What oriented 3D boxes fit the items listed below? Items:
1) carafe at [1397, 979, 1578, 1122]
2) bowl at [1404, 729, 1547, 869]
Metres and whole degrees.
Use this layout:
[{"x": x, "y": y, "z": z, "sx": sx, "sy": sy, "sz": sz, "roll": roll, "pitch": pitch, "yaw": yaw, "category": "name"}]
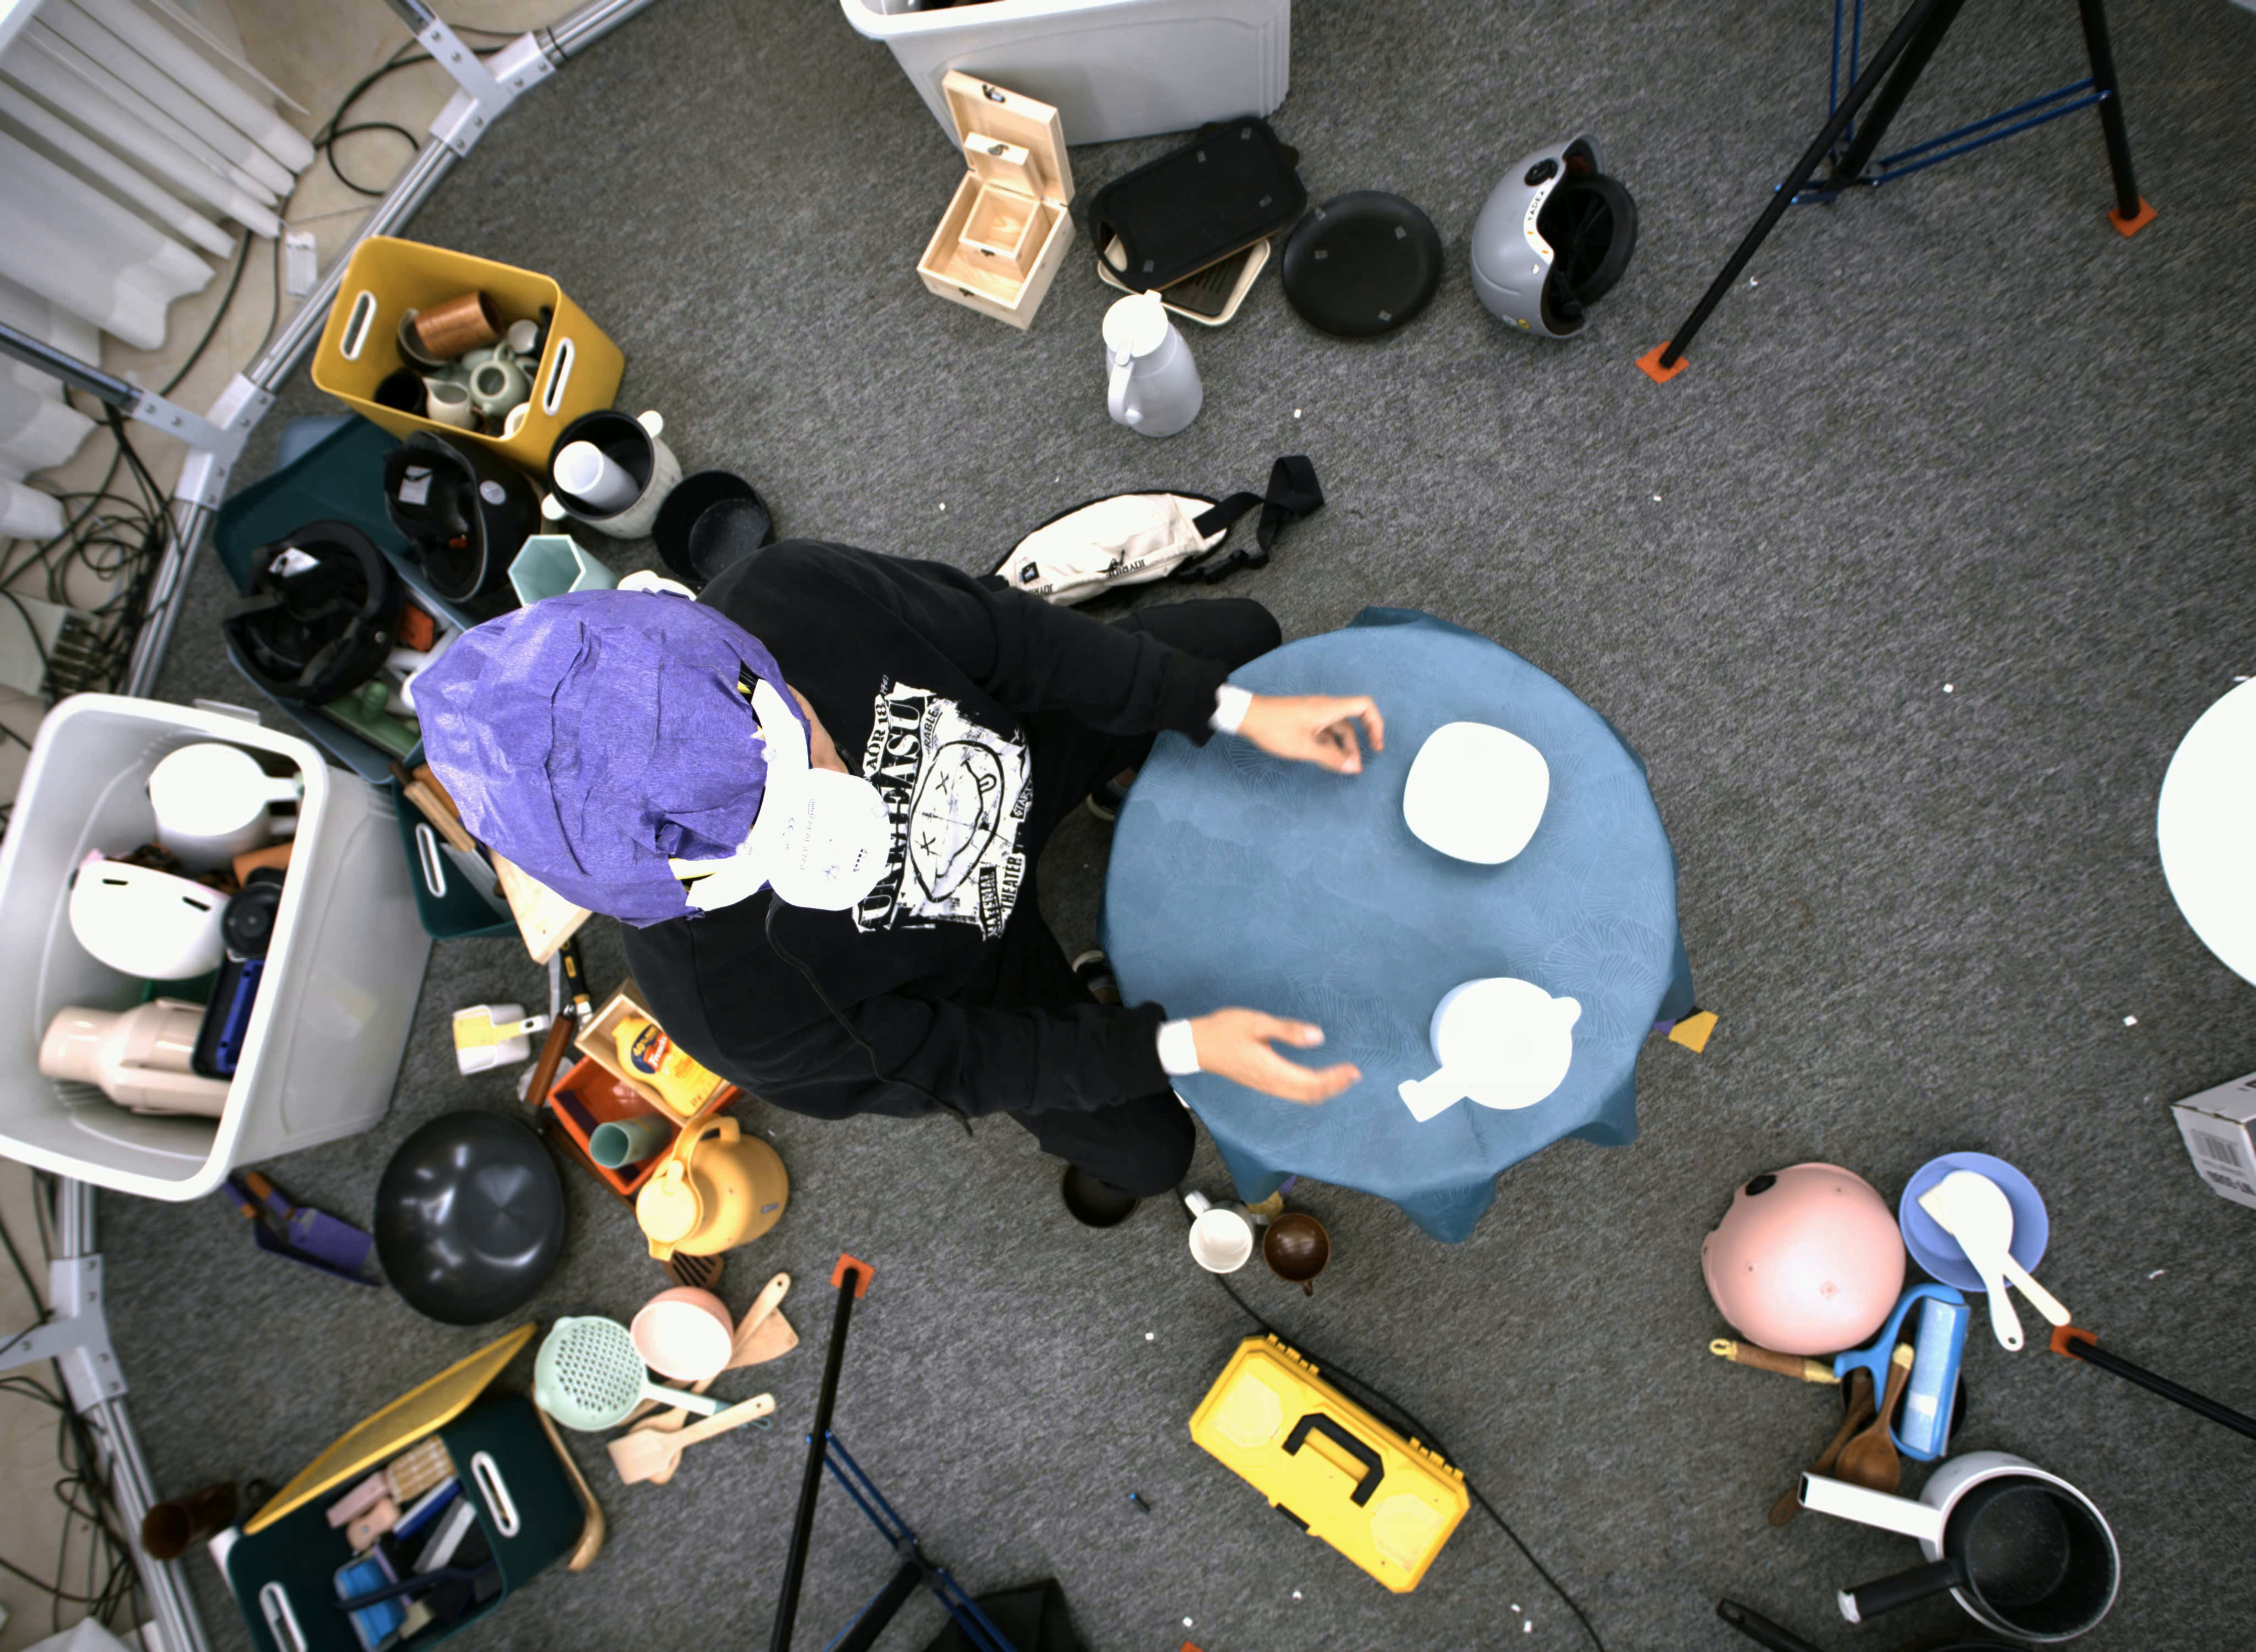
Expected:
[{"x": 0.335, "y": 0.212, "z": 1.307, "sx": 0.174, "sy": 0.269, "sz": 0.123, "roll": -35, "pitch": 82, "yaw": 6, "category": "carafe"}, {"x": 0.362, "y": -0.027, "z": 1.428, "sx": 0.152, "sy": 0.058, "sz": 0.151, "roll": -2, "pitch": 86, "yaw": 17, "category": "bowl"}]
